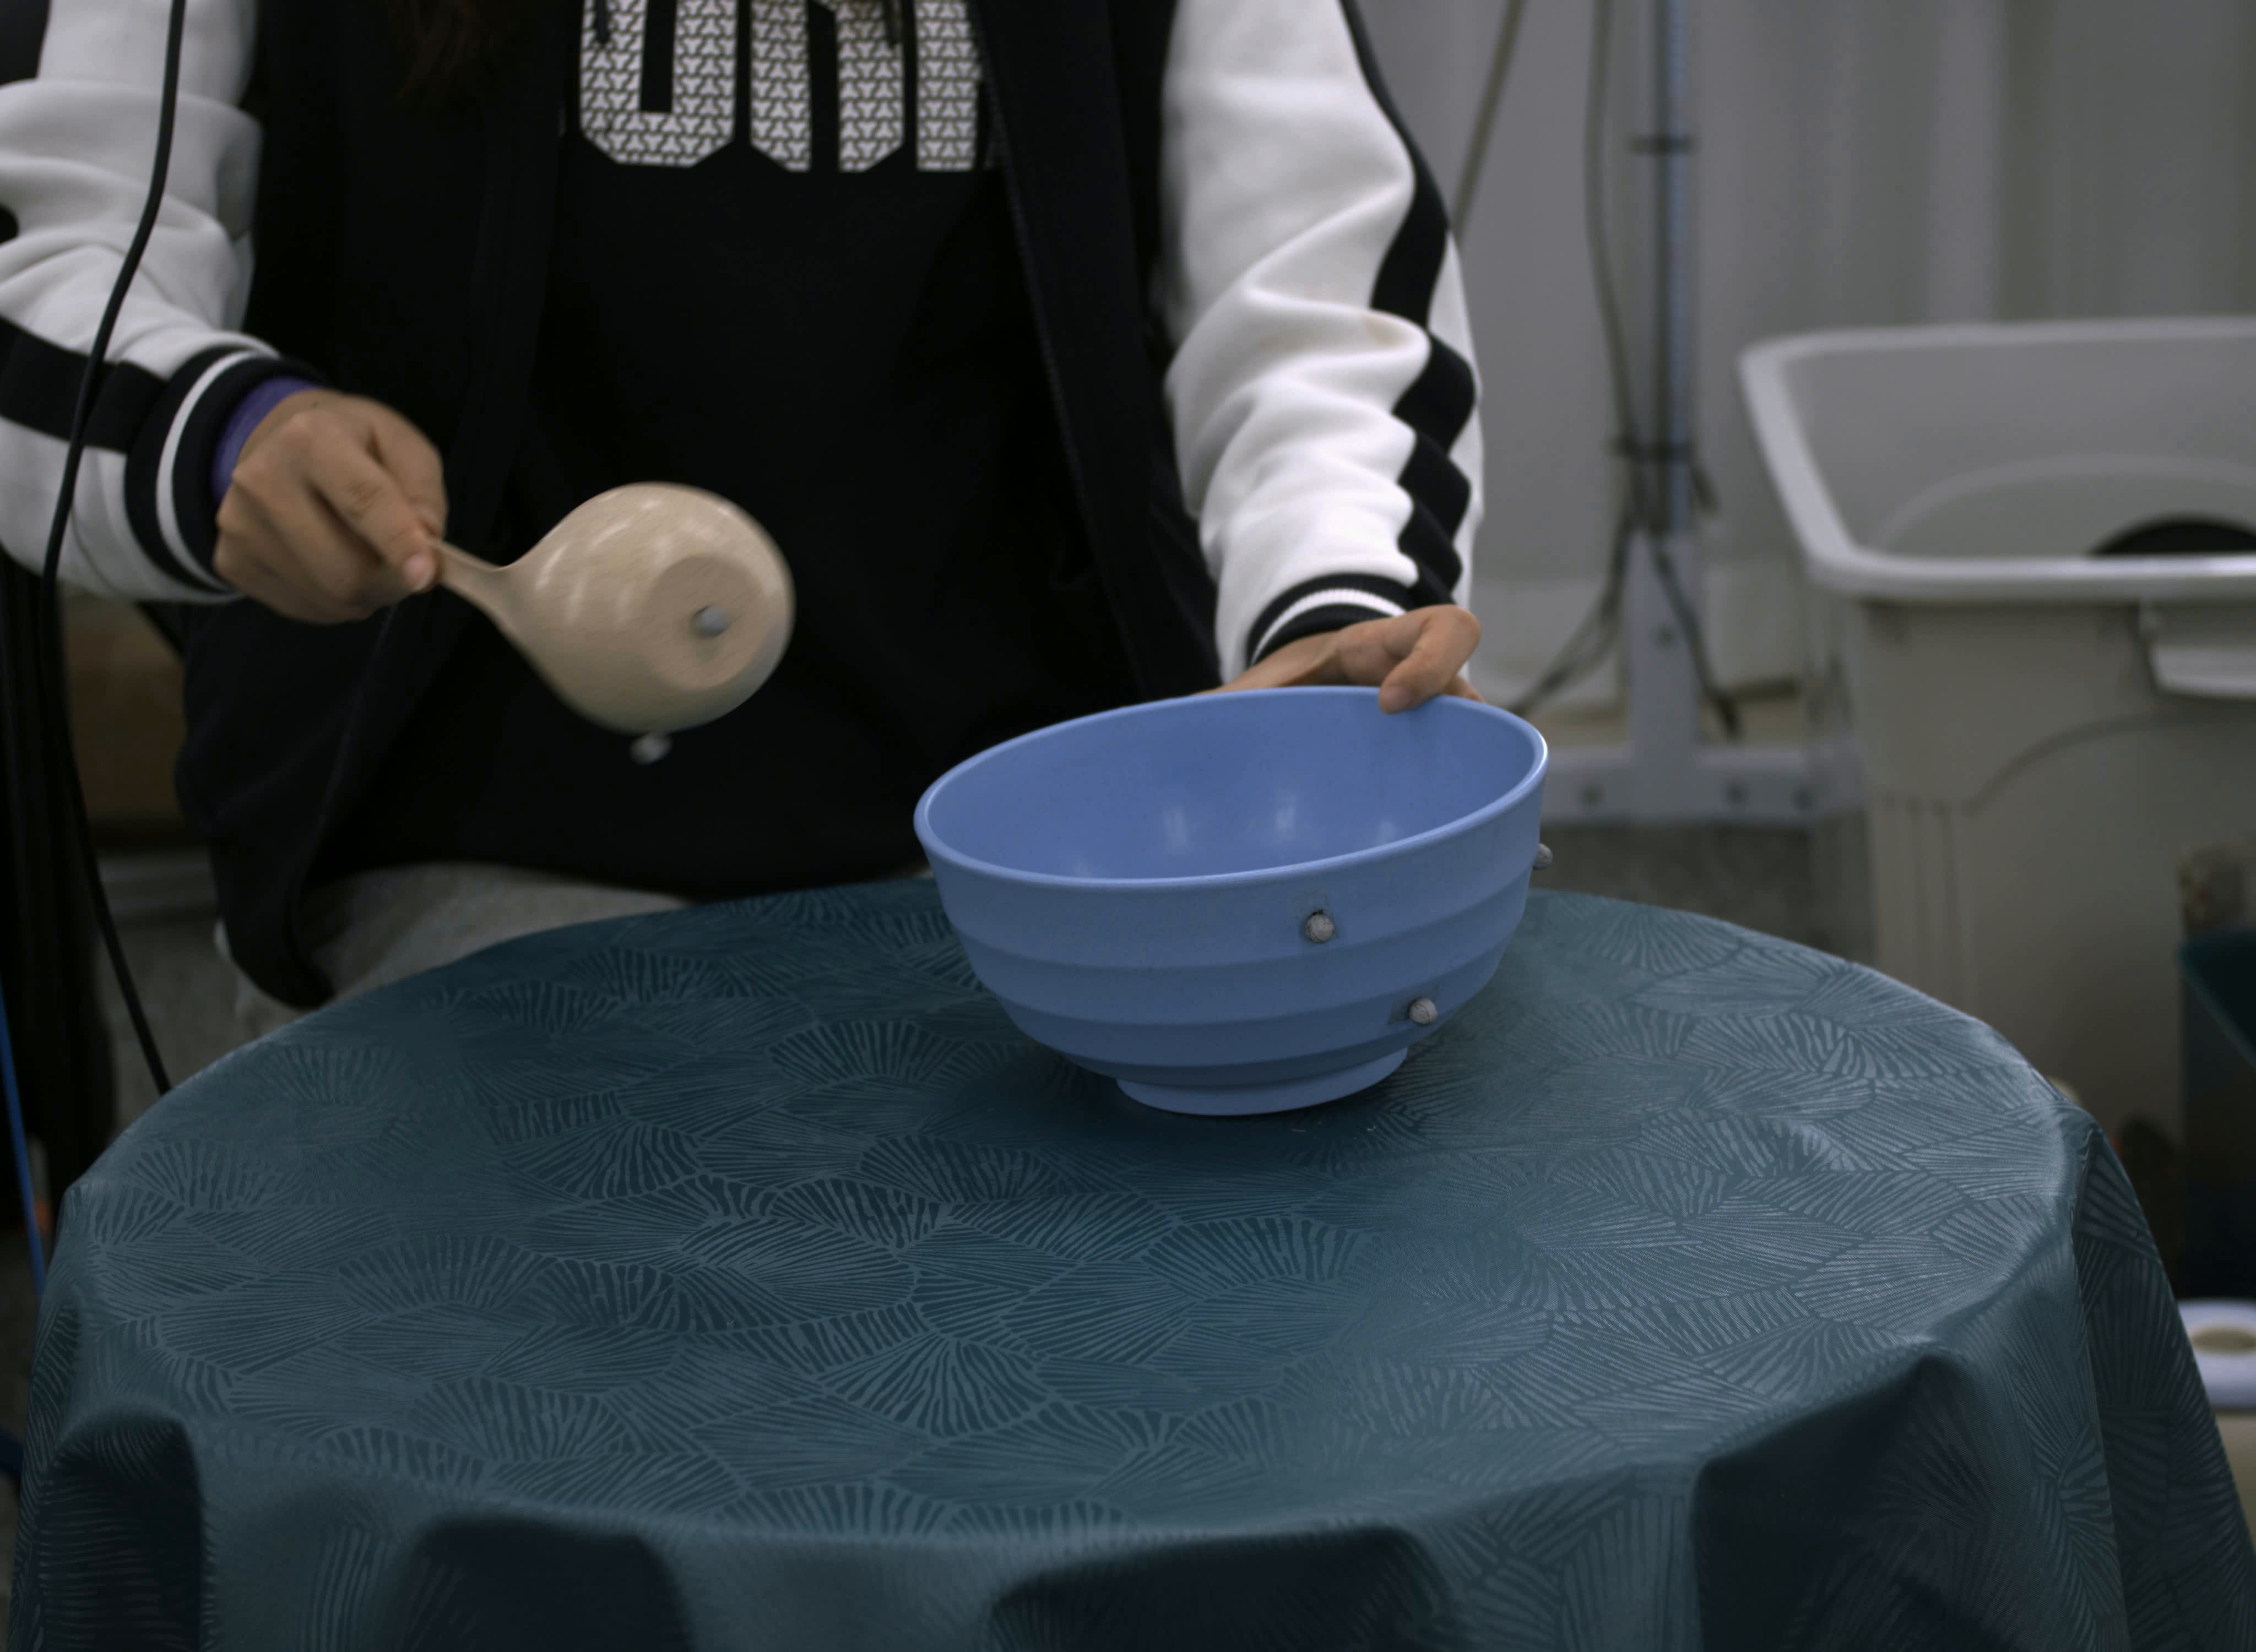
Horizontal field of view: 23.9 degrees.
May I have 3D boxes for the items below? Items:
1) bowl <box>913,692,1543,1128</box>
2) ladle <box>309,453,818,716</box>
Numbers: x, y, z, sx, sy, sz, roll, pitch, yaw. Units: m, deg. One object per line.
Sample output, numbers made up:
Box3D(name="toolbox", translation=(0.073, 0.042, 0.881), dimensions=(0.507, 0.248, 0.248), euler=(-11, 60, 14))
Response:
Box3D(name="bowl", translation=(0.037, 0.033, 1.644), dimensions=(0.196, 0.095, 0.197), euler=(-9, 16, 1))
Box3D(name="ladle", translation=(-0.174, -0.091, 1.625), dimensions=(0.071, 0.072, 0.260), euler=(-16, 20, -23))
